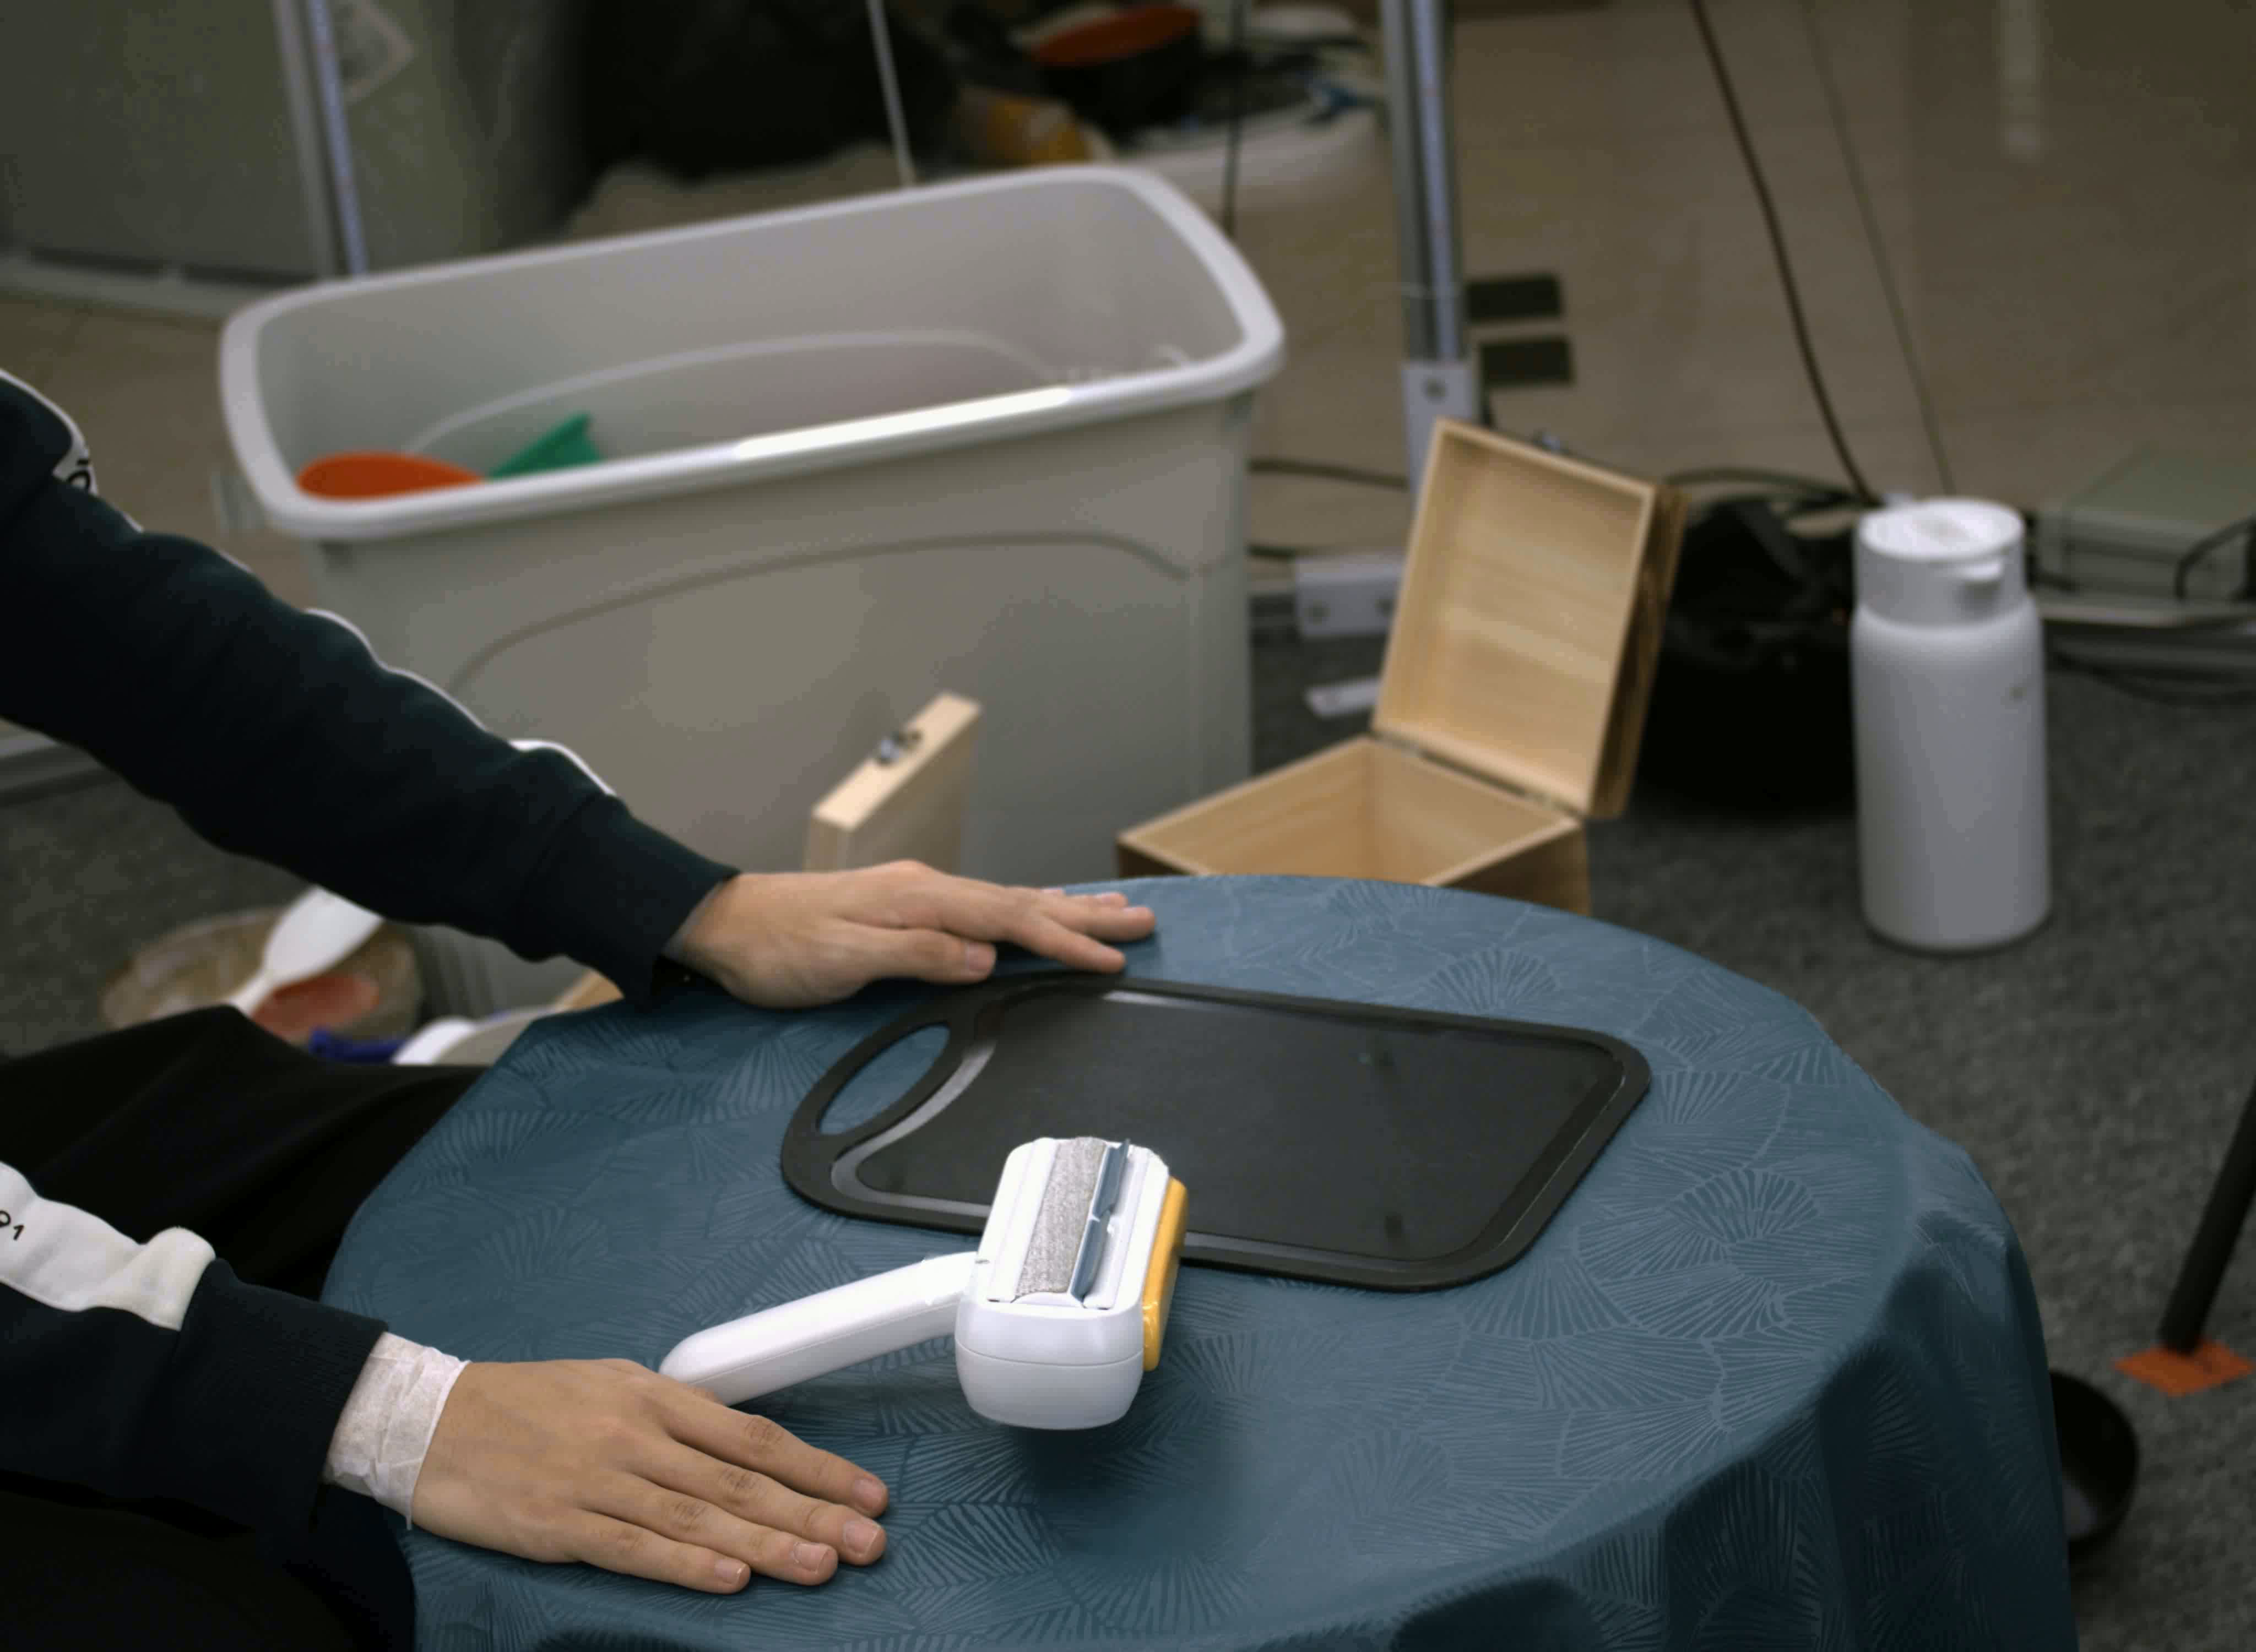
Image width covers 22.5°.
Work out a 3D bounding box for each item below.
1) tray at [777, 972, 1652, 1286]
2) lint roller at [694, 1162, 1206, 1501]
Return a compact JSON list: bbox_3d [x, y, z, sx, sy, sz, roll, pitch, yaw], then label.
[{"bbox_3d":[0.026,0.112,2.188,0.324,0.010,0.208,6,27,25],"label":"tray"},{"bbox_3d":[-0.072,0.189,2.018,0.192,0.075,0.190,-16,16,16],"label":"lint roller"}]
